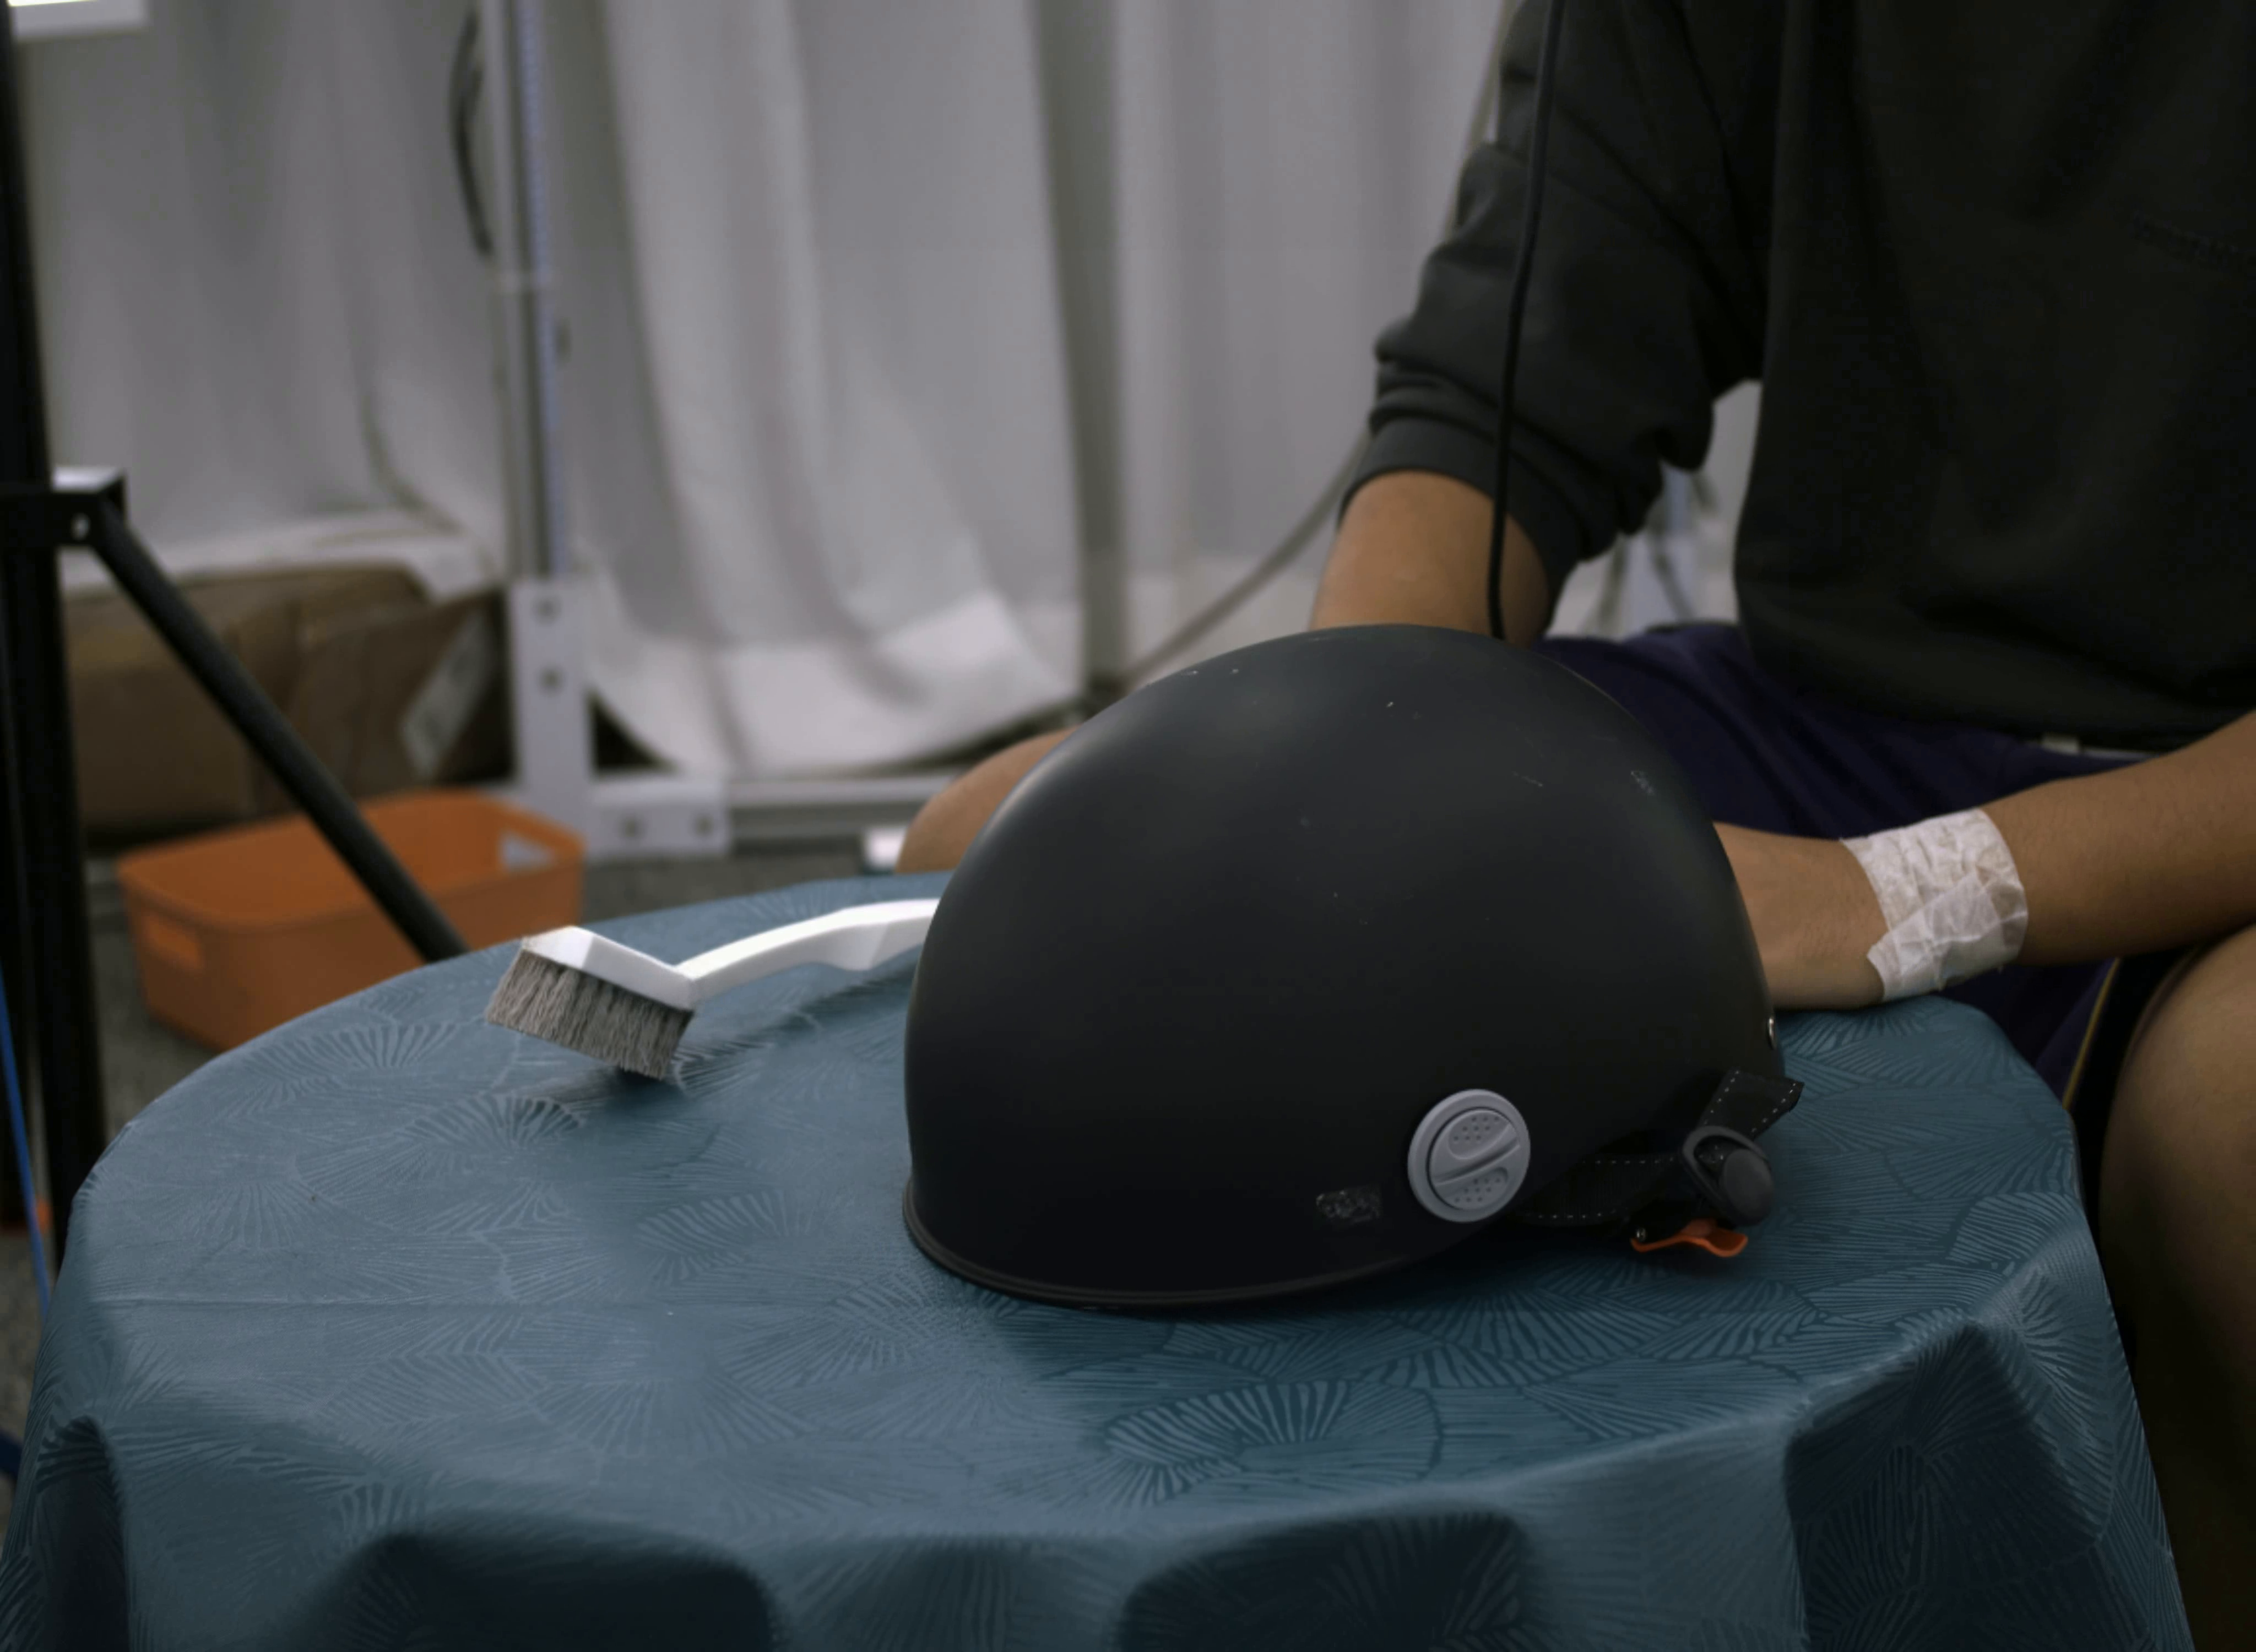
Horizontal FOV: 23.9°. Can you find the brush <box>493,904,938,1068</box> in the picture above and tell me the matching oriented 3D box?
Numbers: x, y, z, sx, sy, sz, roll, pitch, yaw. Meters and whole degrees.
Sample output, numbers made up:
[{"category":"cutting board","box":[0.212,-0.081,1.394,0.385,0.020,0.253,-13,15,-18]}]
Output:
[{"category":"brush","box":[-0.111,0.051,1.738,0.035,0.050,0.237,11,7,39]}]

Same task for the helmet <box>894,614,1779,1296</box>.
[{"category":"helmet","box":[0.057,0.028,1.548,0.267,0.166,0.235,-14,18,-30]}]
